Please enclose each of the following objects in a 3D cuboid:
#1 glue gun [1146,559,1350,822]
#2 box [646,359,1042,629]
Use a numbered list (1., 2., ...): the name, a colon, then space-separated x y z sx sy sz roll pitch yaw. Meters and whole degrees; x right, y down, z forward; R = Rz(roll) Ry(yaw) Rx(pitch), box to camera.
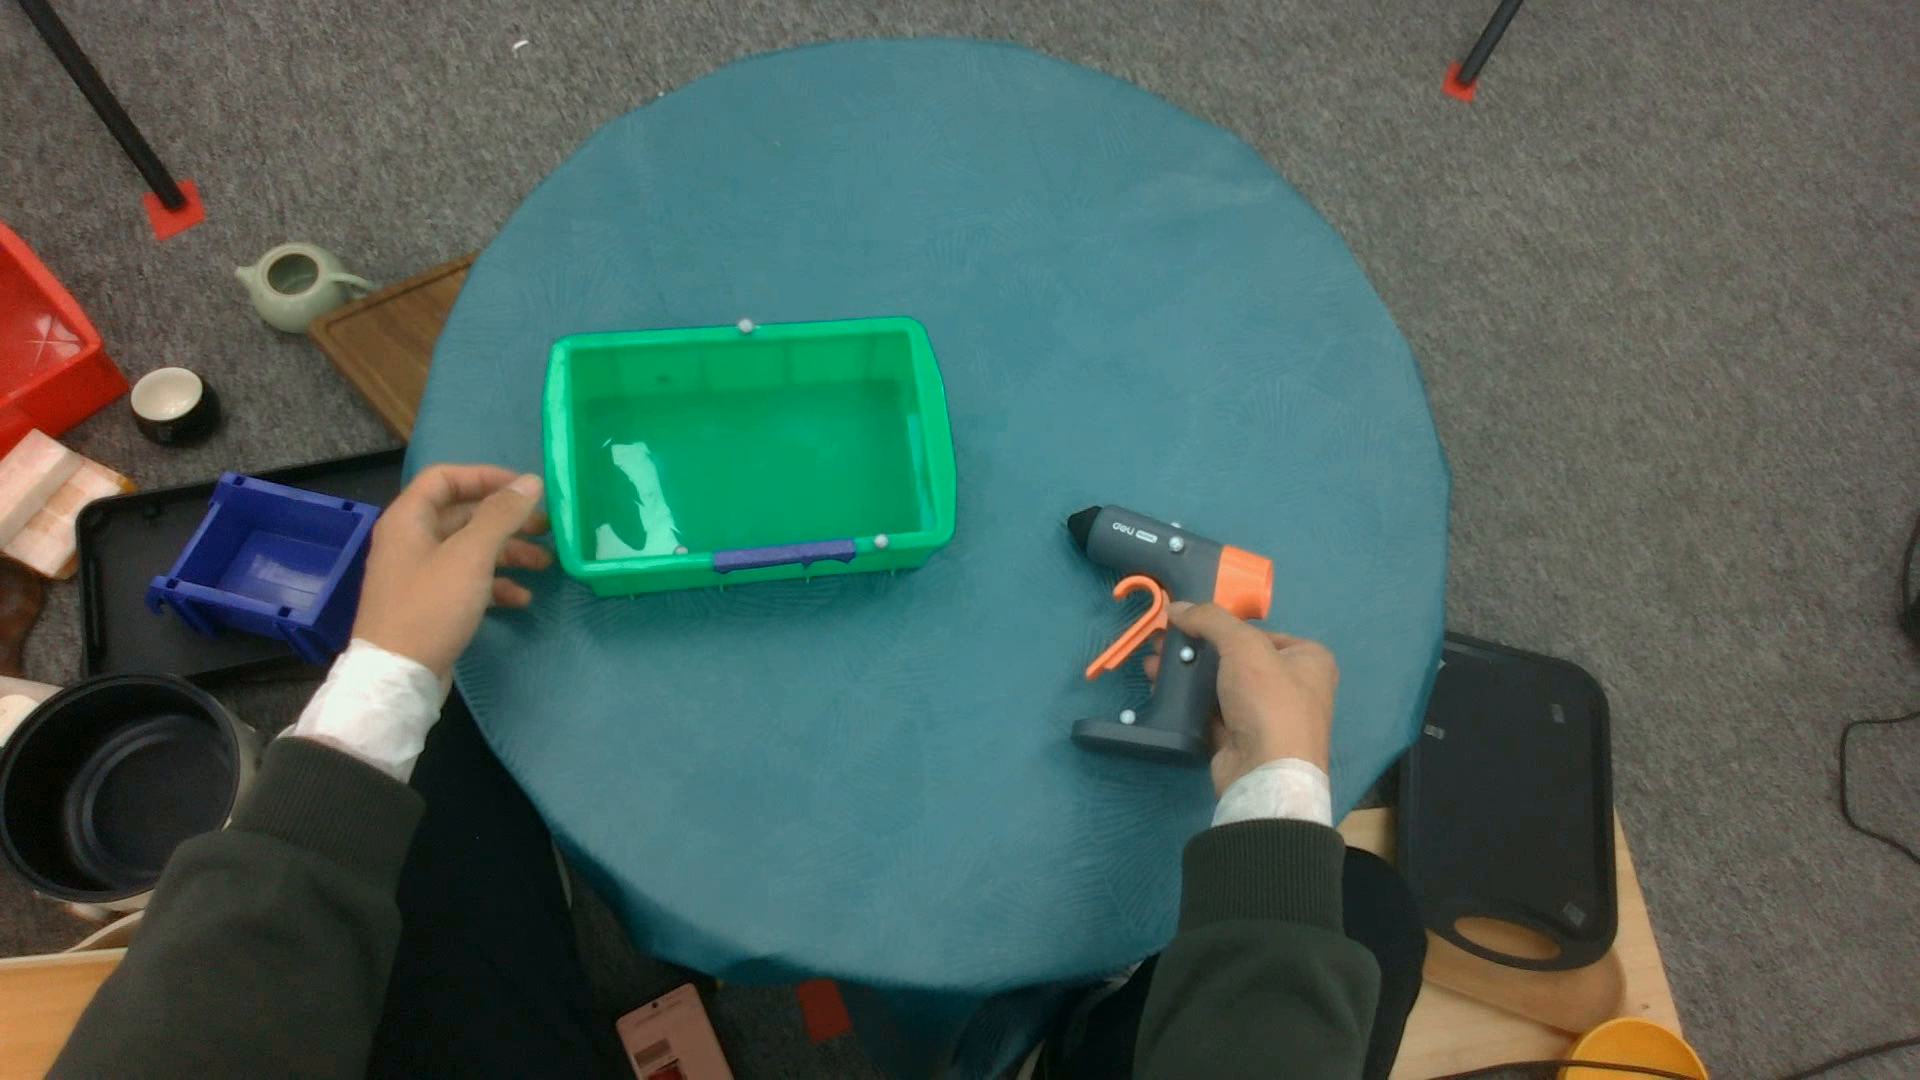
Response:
1. glue gun: 0.146 0.076 0.750 0.118 0.041 0.140 3 64 27
2. box: -0.065 -0.023 0.769 0.210 0.065 0.139 -4 68 -9
